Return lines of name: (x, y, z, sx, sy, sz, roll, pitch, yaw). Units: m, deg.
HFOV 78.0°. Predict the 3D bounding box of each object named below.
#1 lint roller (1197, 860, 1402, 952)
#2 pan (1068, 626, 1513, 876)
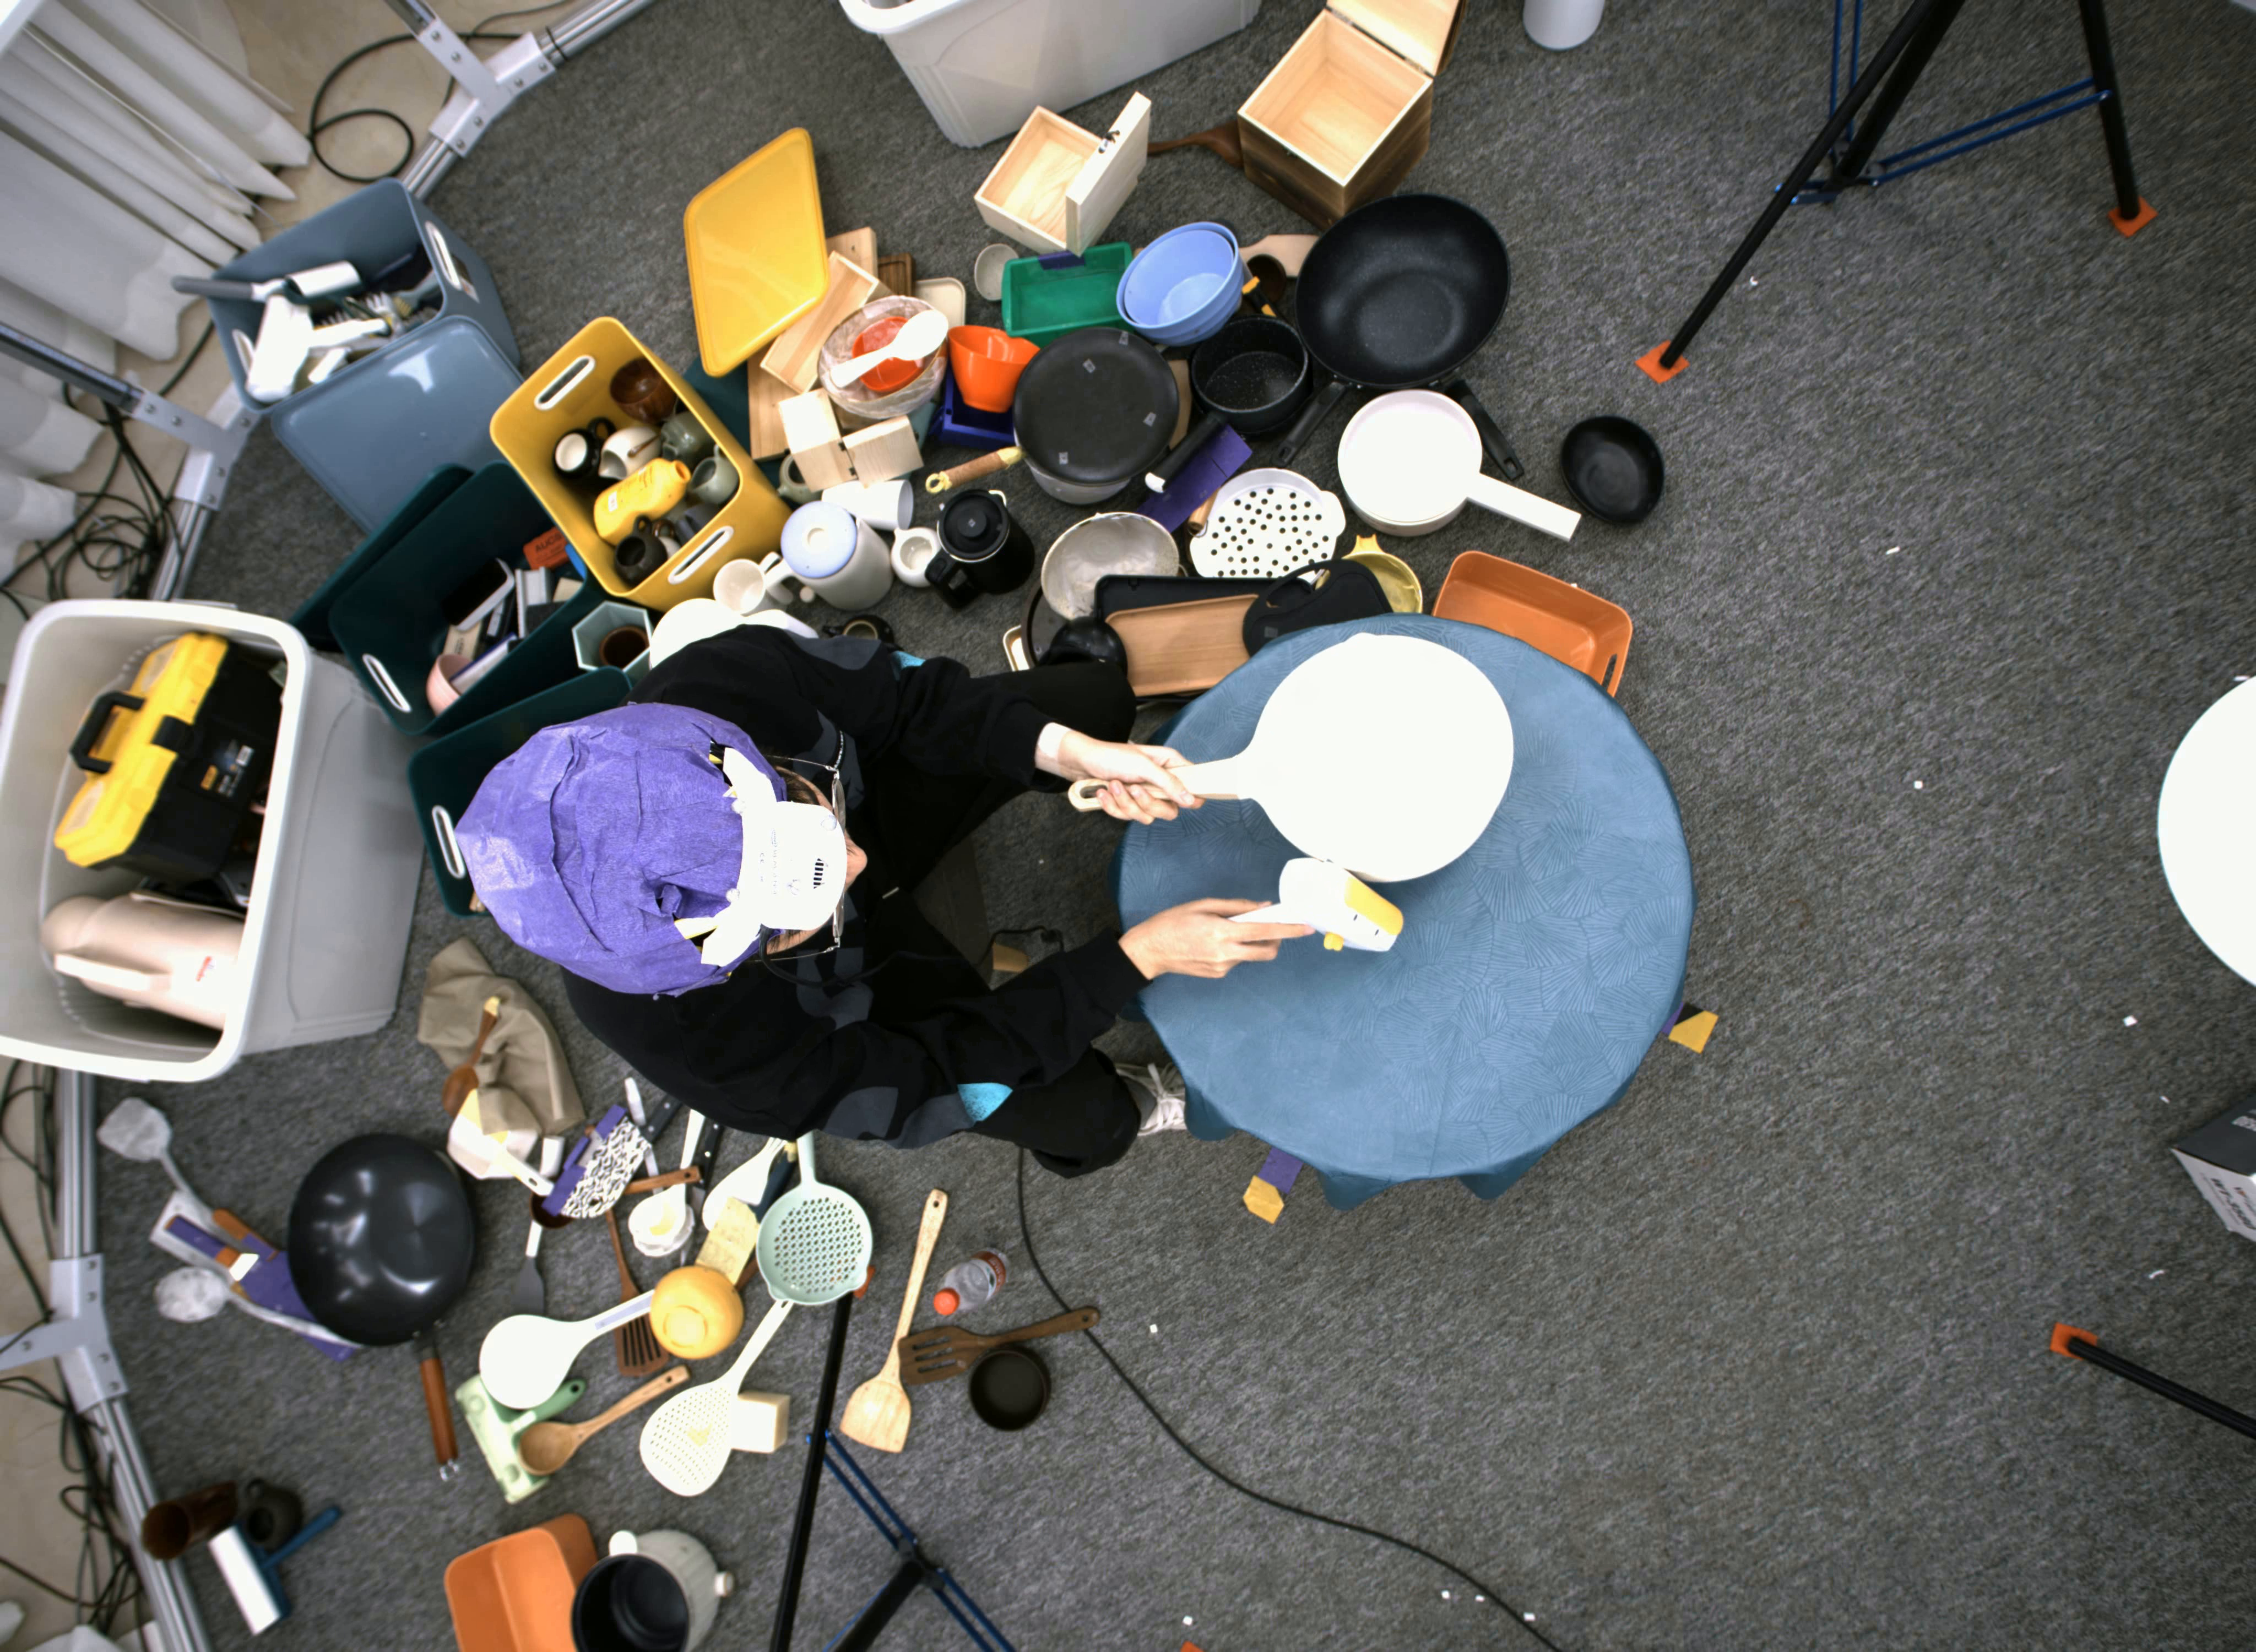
lint roller: (0.155, 0.089, 1.372, 0.194, 0.193, 0.073, -7, 74, 34)
pan: (0.162, -0.053, 1.378, 0.437, 0.103, 0.259, -11, 71, 12)
